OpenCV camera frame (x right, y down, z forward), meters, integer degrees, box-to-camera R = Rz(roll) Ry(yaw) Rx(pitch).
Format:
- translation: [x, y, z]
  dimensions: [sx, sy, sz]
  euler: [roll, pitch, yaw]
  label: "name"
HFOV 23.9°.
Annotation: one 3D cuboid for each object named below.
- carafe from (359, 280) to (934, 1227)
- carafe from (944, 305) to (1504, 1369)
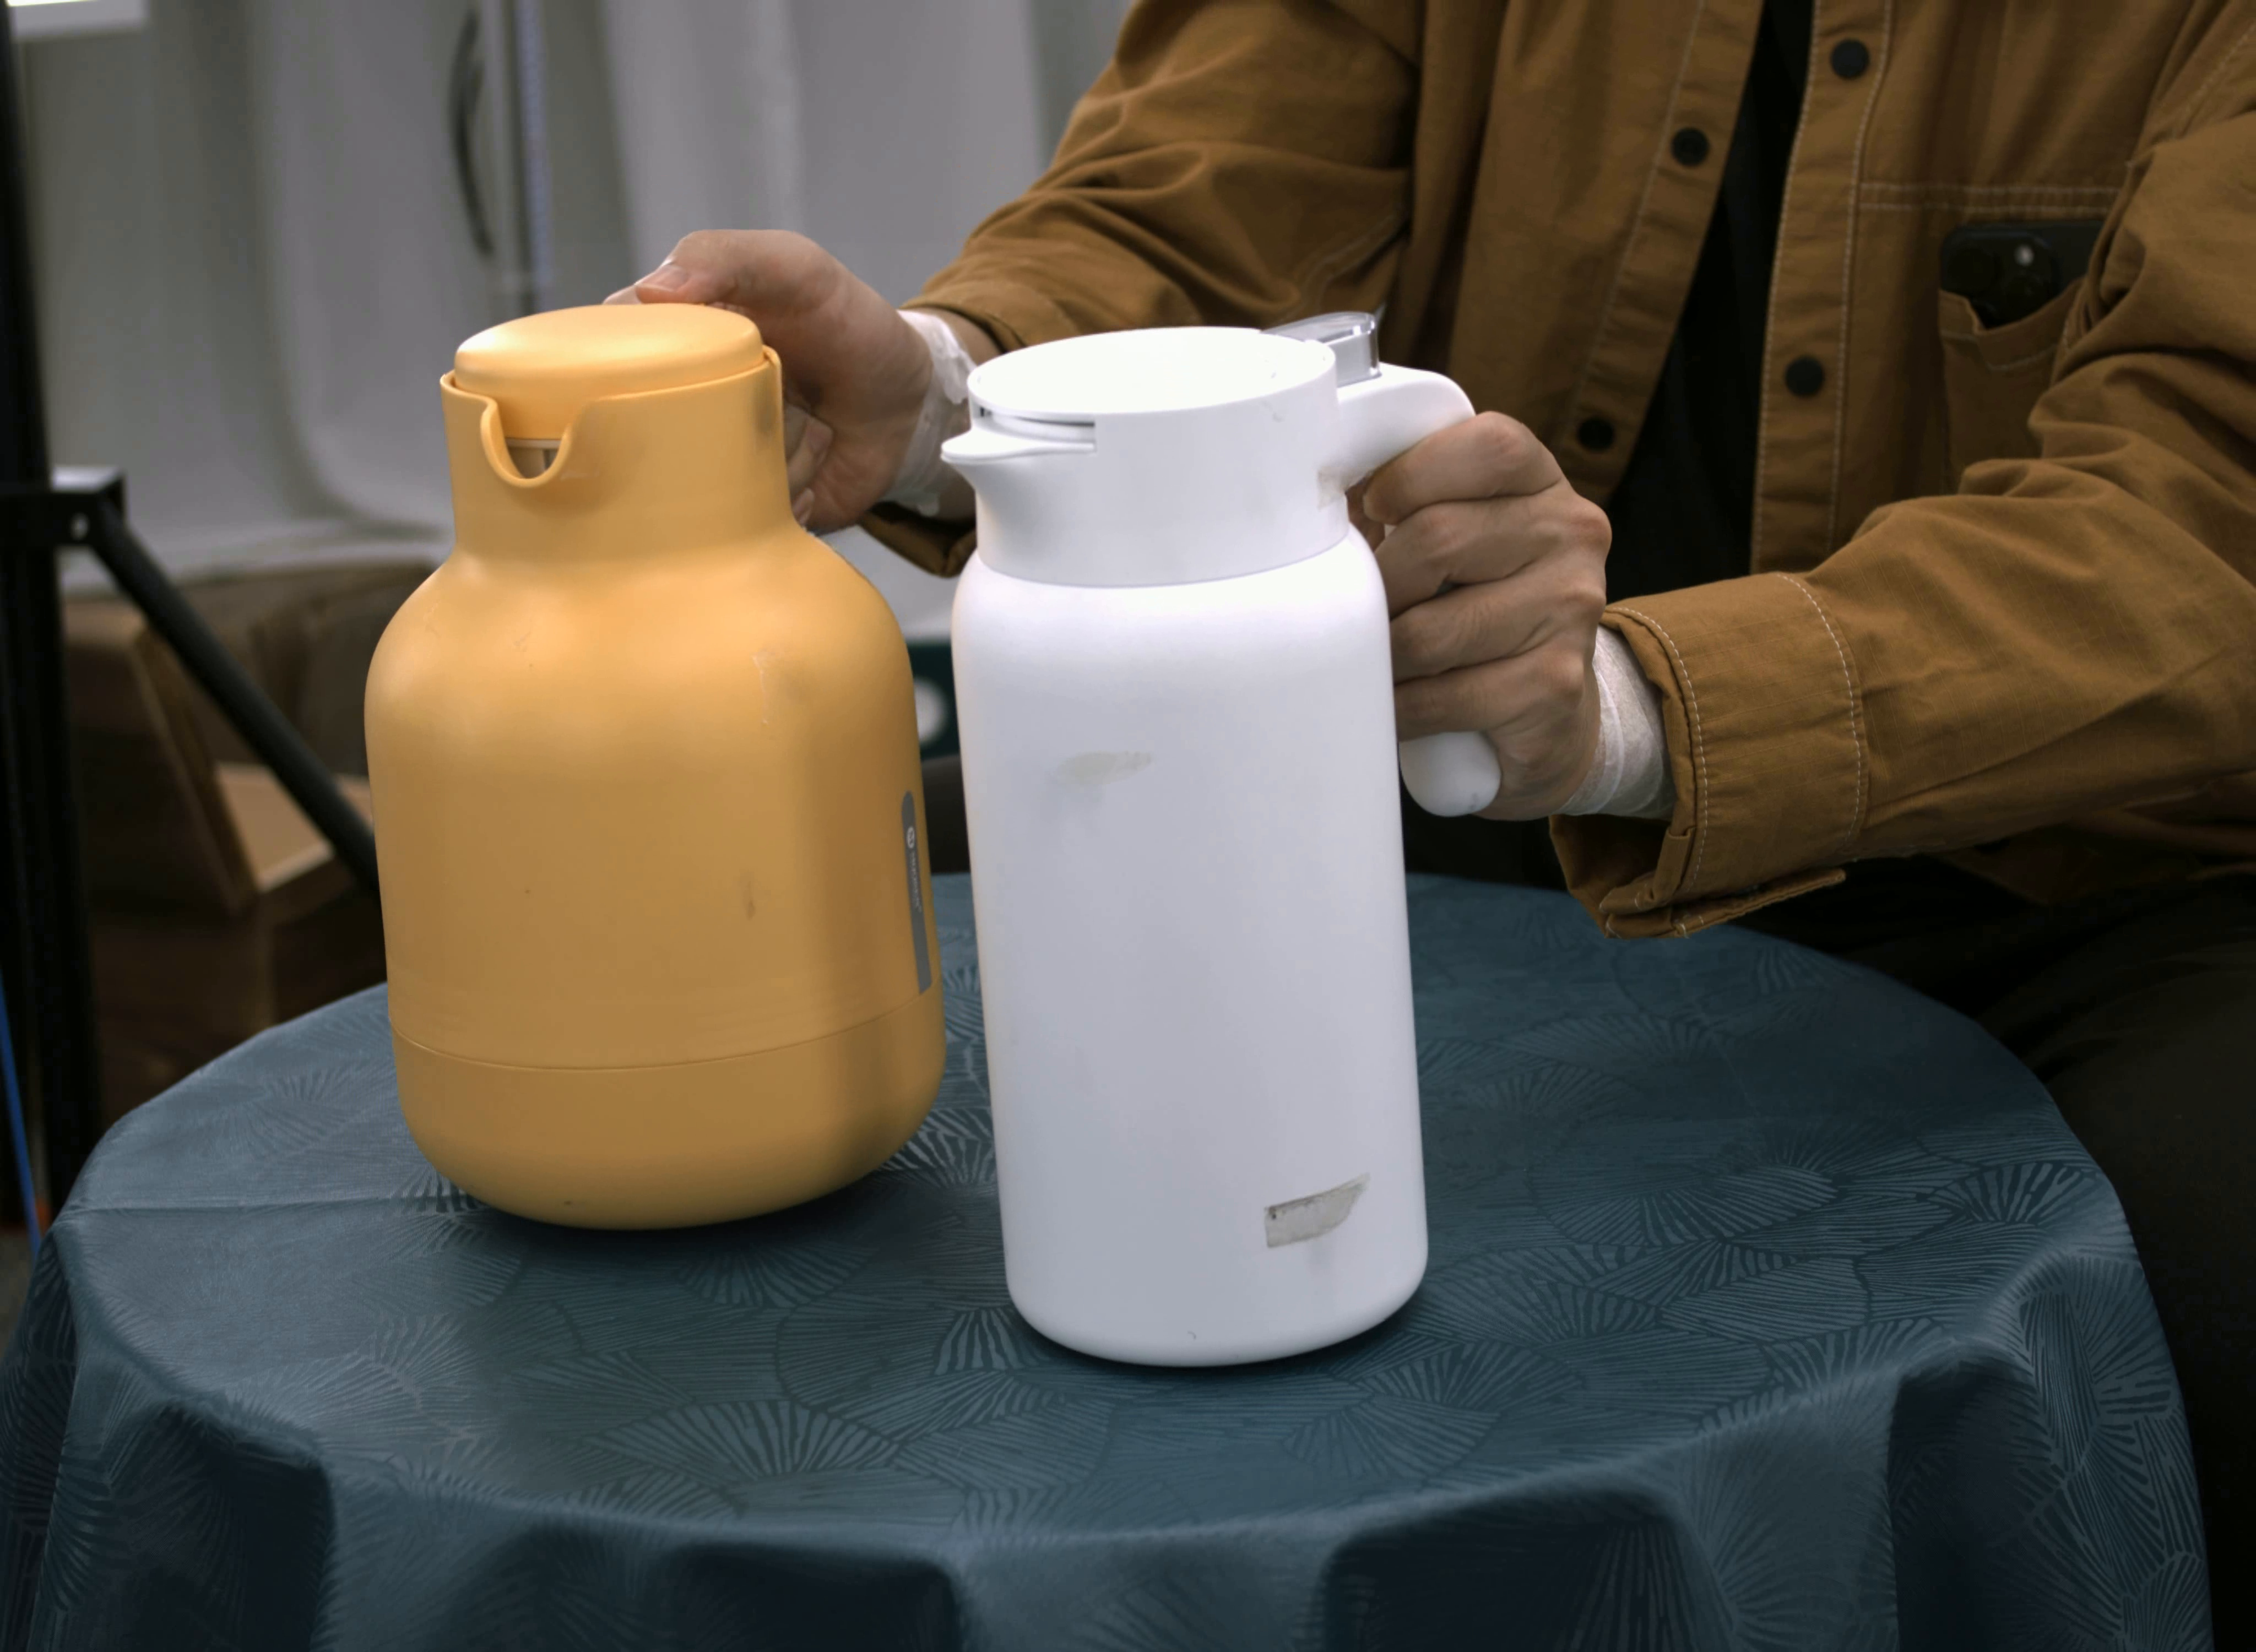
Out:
- translation: [-0.136, -0.029, 1.573]
  dimensions: [0.165, 0.260, 0.200]
  euler: [3, 17, 17]
  label: "carafe"
- translation: [0.029, -0.001, 1.435]
  dimensions: [0.169, 0.269, 0.126]
  euler: [-16, 18, -35]
  label: "carafe"
